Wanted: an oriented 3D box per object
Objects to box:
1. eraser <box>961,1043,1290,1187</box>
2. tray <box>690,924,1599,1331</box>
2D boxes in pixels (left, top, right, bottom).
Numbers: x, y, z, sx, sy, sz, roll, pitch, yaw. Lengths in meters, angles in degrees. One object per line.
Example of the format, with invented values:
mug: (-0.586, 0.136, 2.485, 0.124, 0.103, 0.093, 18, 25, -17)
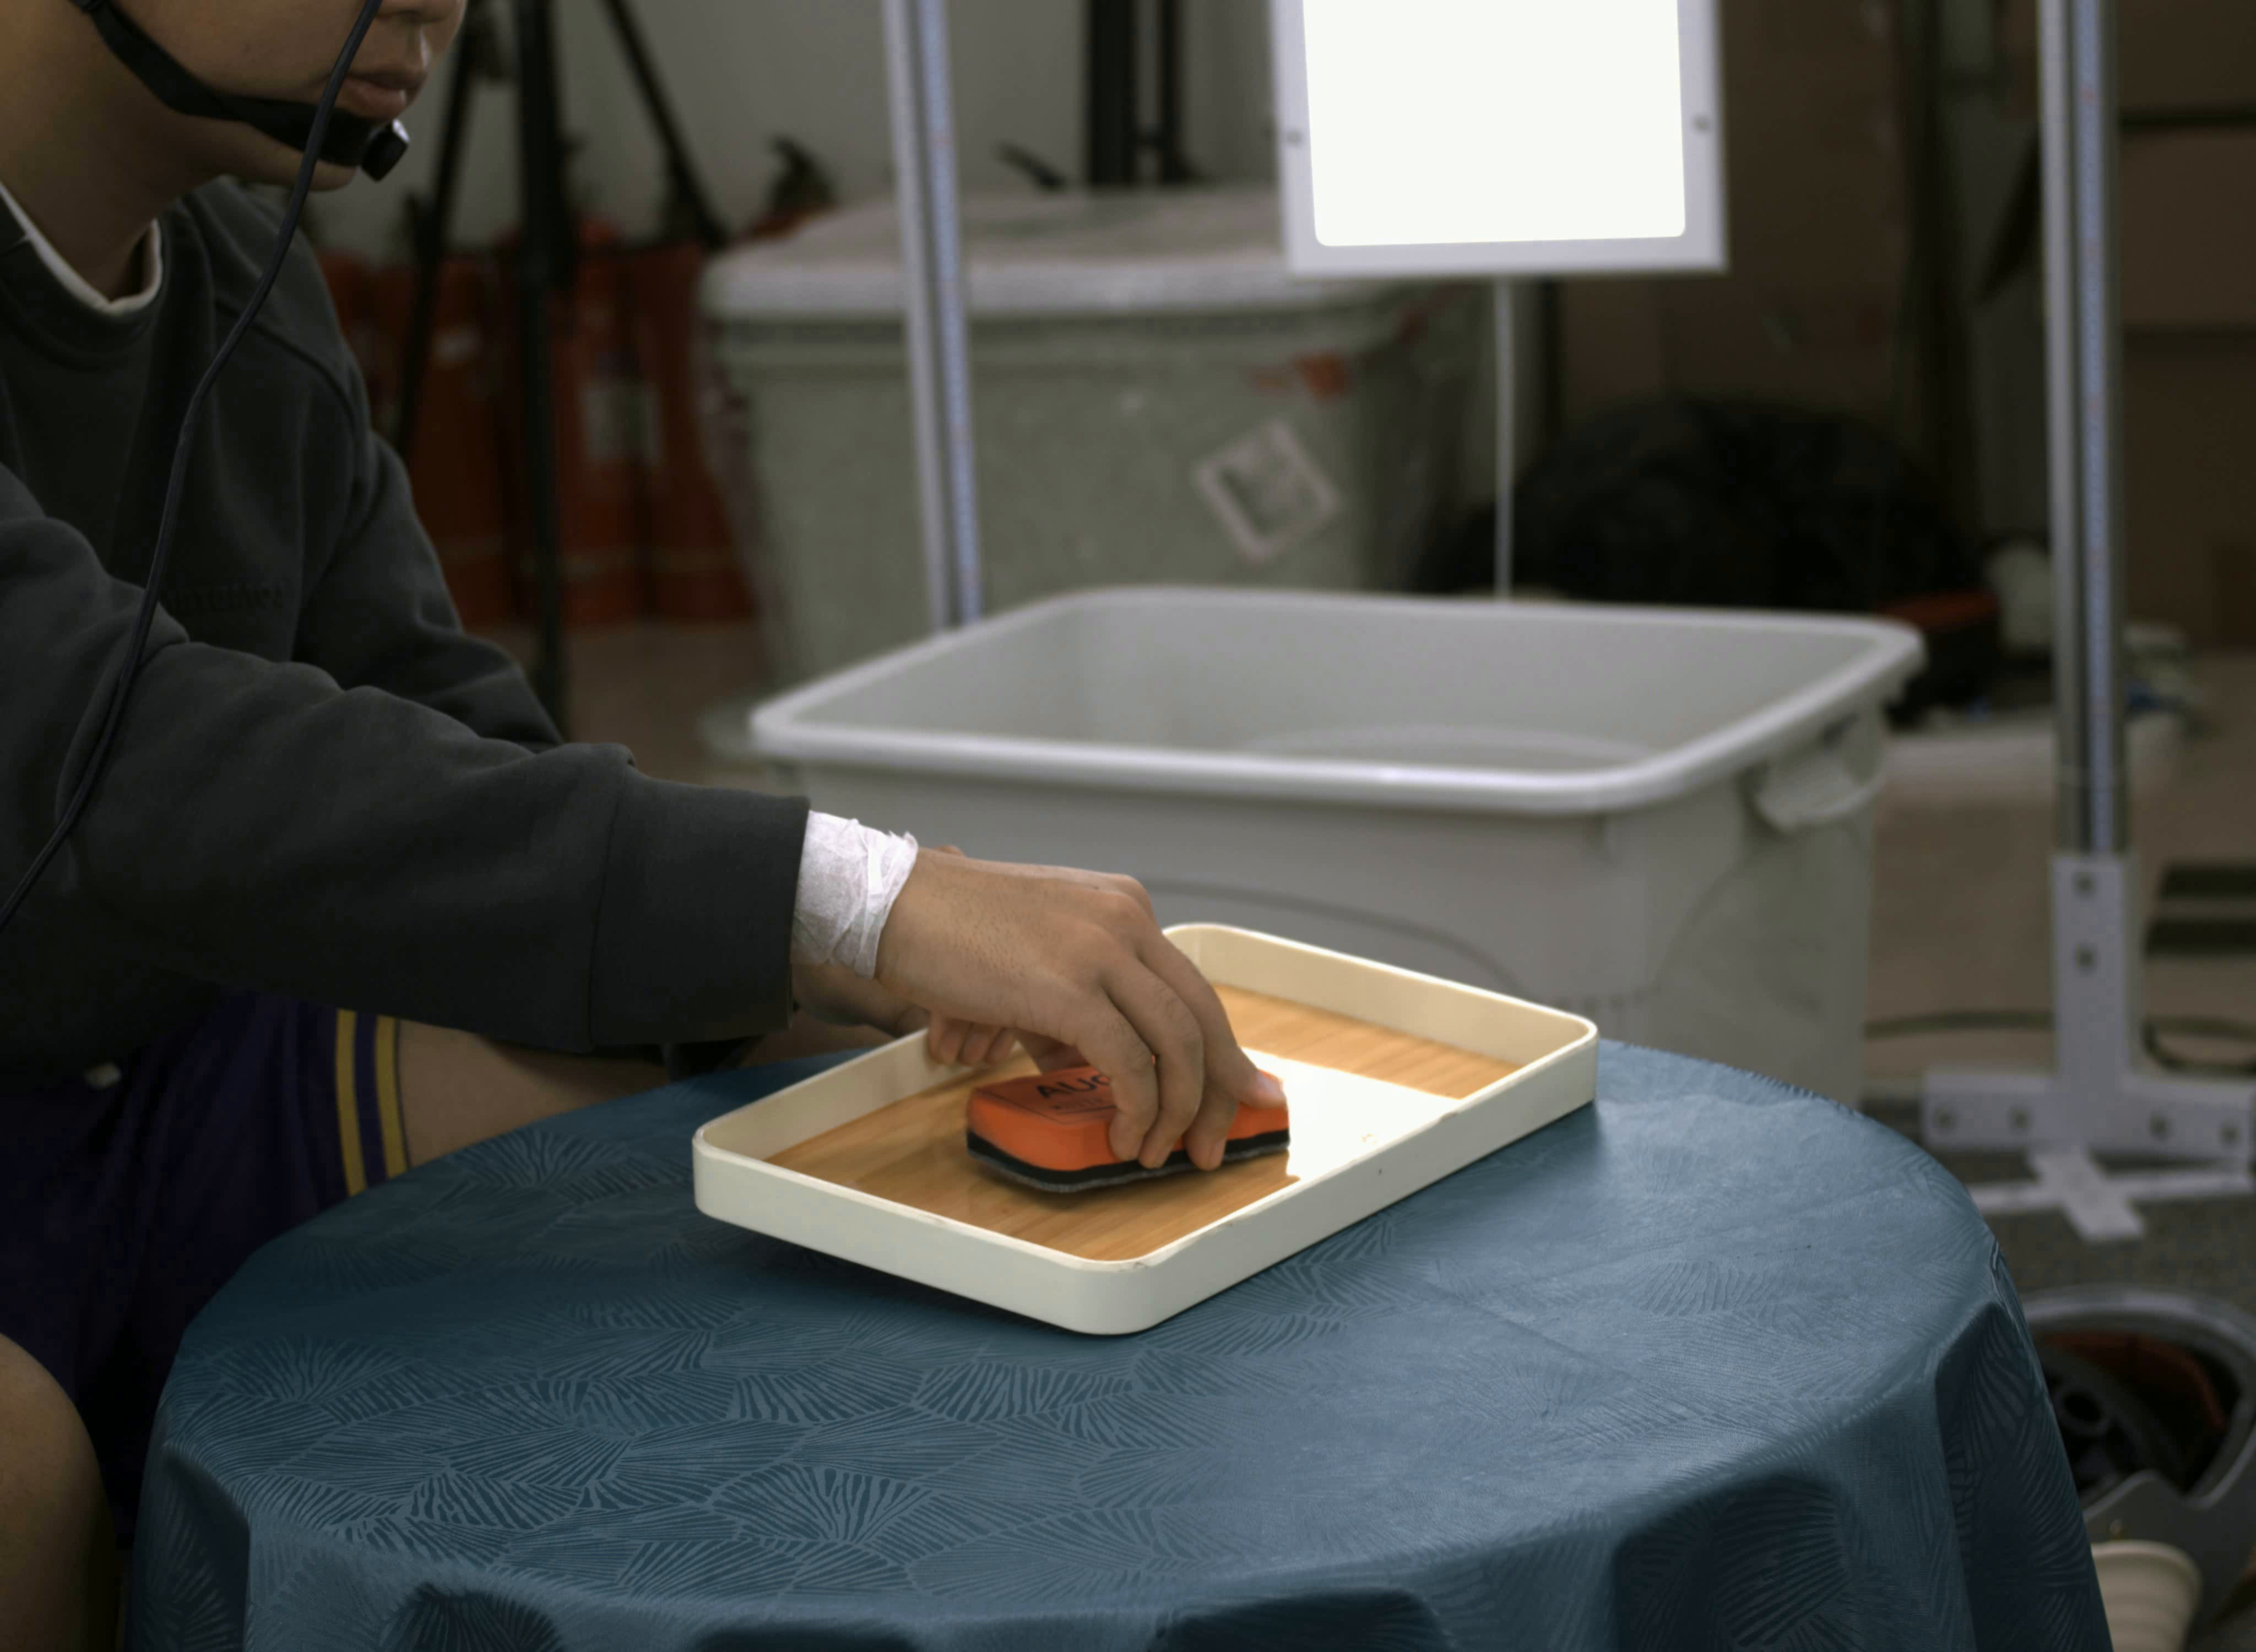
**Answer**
eraser: (0.000, 0.098, 1.879, 0.105, 0.023, 0.060, -9, 20, -36)
tray: (0.010, 0.099, 1.903, 0.195, 0.027, 0.293, 14, 22, 36)
